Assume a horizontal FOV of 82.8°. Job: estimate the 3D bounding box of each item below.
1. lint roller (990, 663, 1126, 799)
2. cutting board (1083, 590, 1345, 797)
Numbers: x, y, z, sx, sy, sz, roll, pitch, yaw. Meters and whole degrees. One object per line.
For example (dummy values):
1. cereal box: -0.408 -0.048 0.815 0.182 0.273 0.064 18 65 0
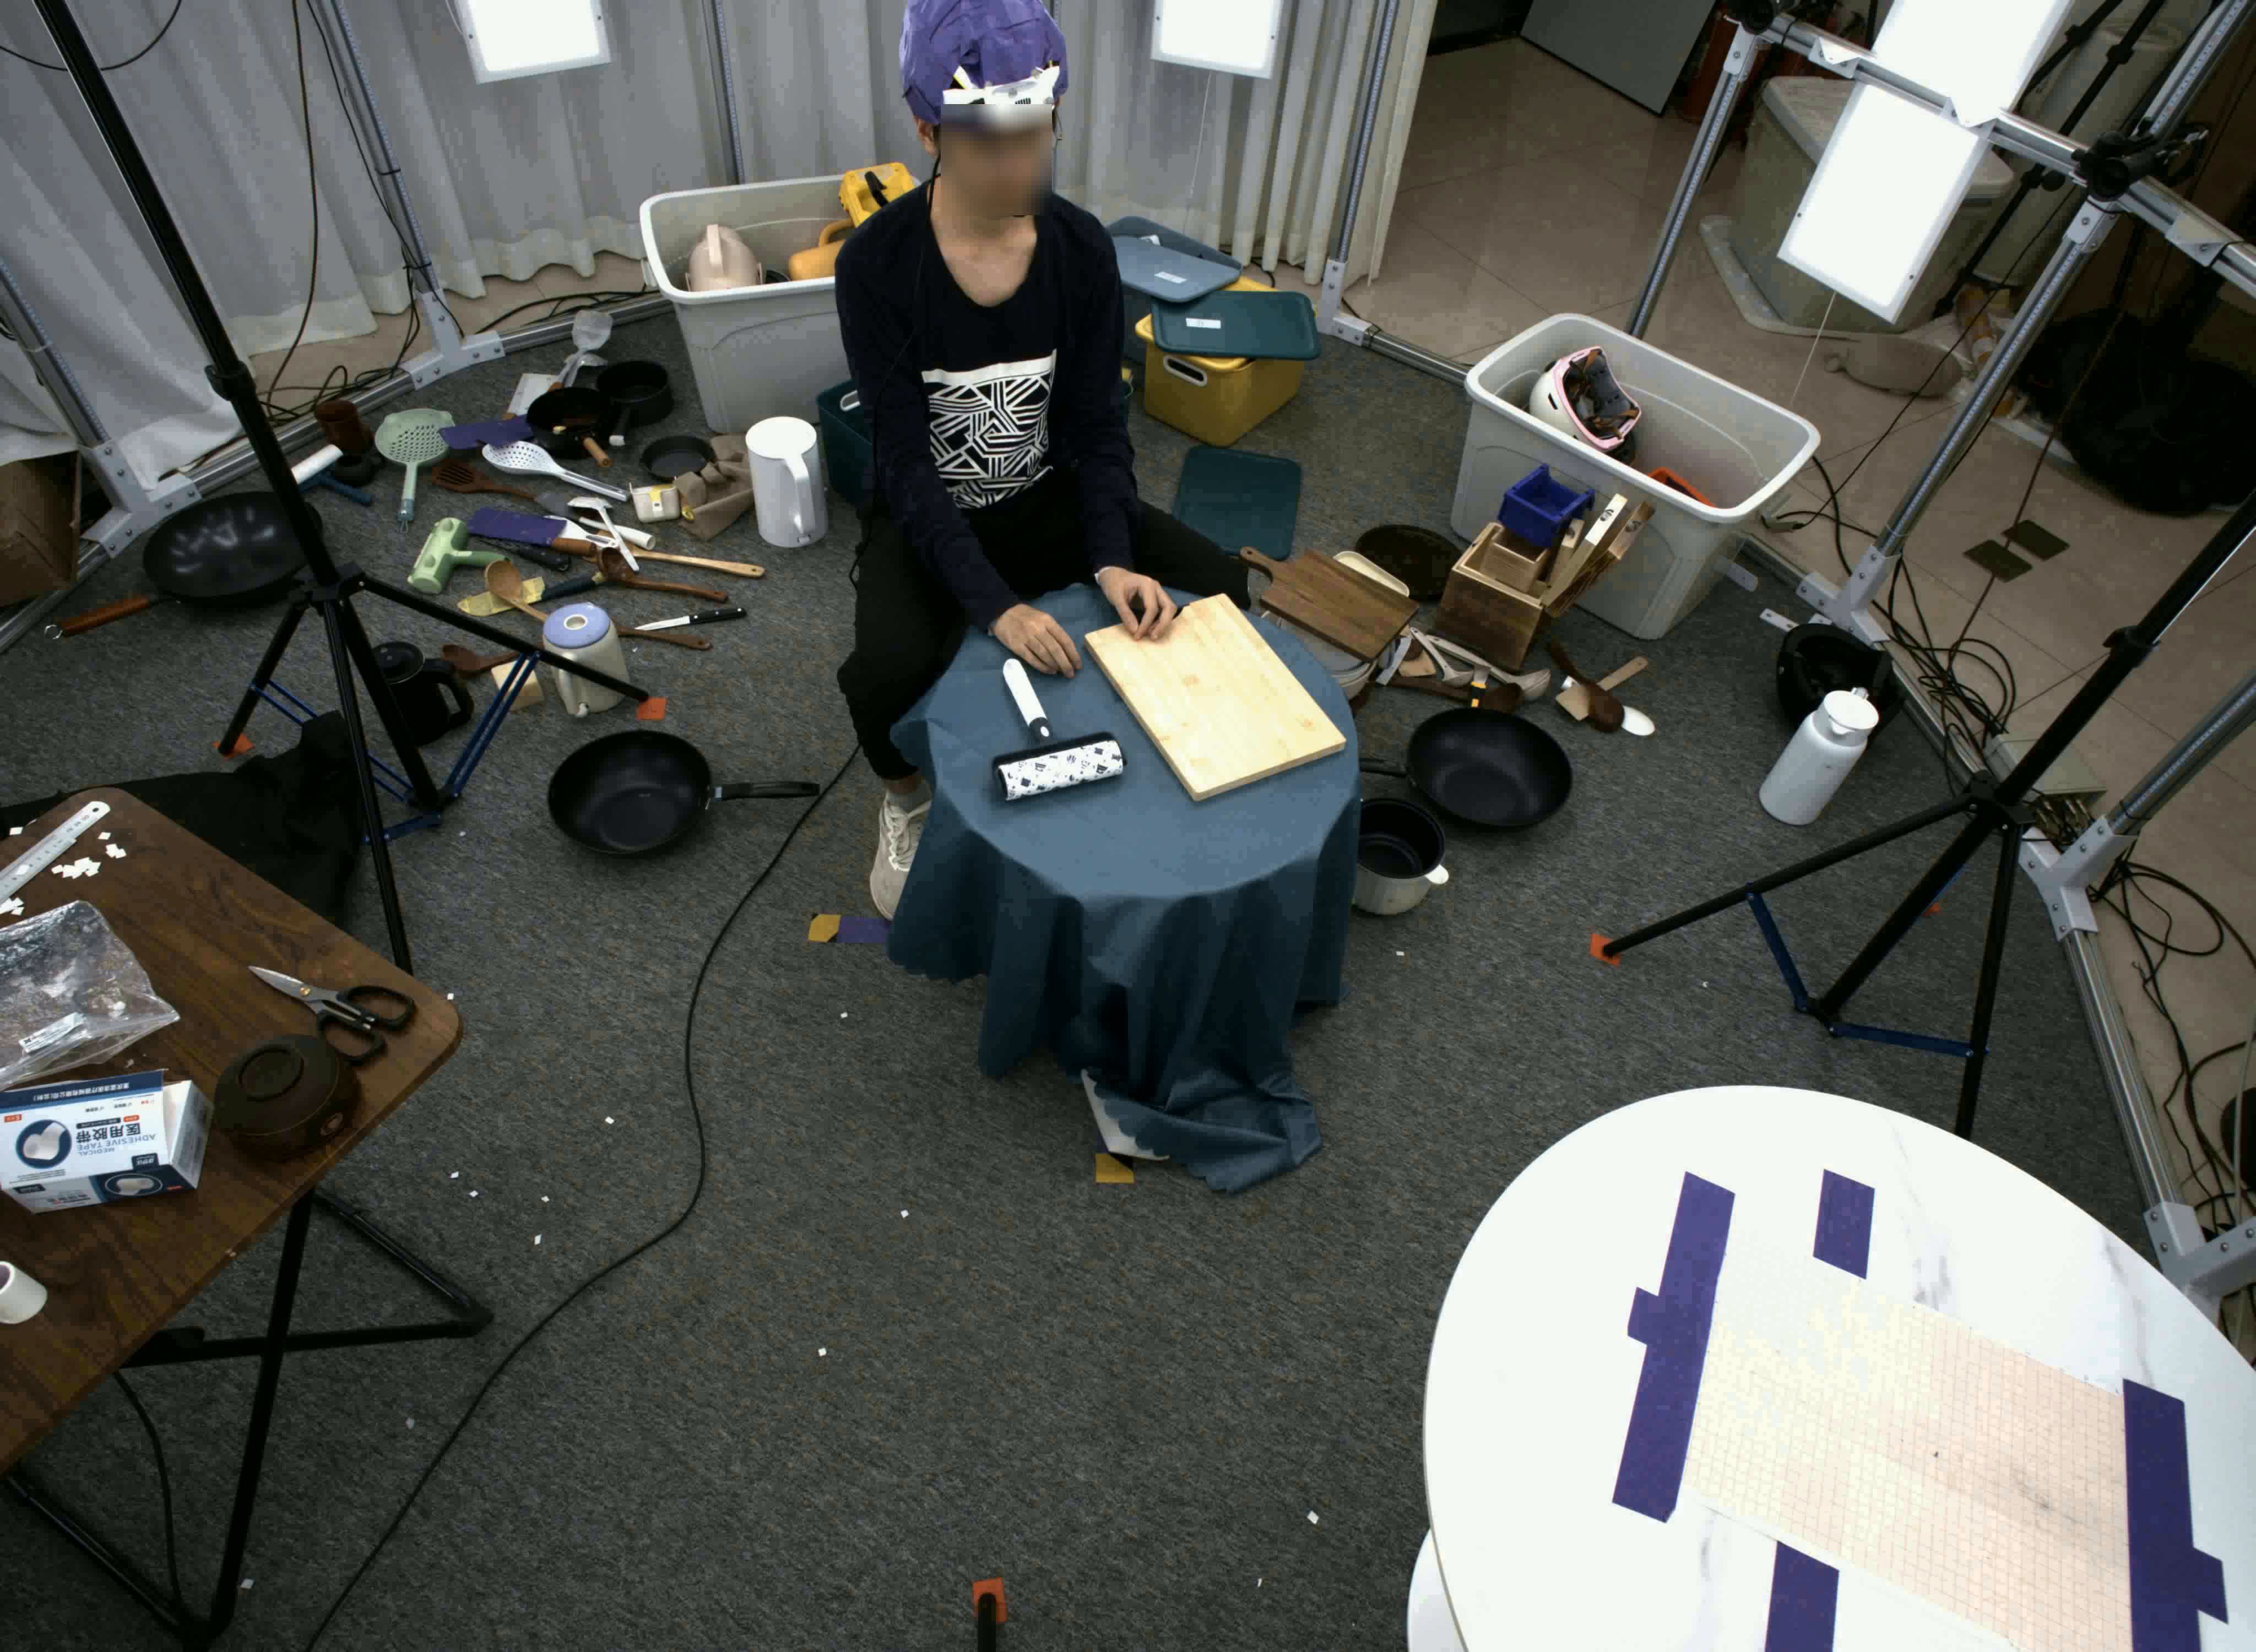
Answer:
1. lint roller: -0.127 -0.147 1.759 0.176 0.049 0.253 -15 49 -15
2. cutting board: 0.116 -0.198 1.836 0.251 0.023 0.356 -19 53 -20
